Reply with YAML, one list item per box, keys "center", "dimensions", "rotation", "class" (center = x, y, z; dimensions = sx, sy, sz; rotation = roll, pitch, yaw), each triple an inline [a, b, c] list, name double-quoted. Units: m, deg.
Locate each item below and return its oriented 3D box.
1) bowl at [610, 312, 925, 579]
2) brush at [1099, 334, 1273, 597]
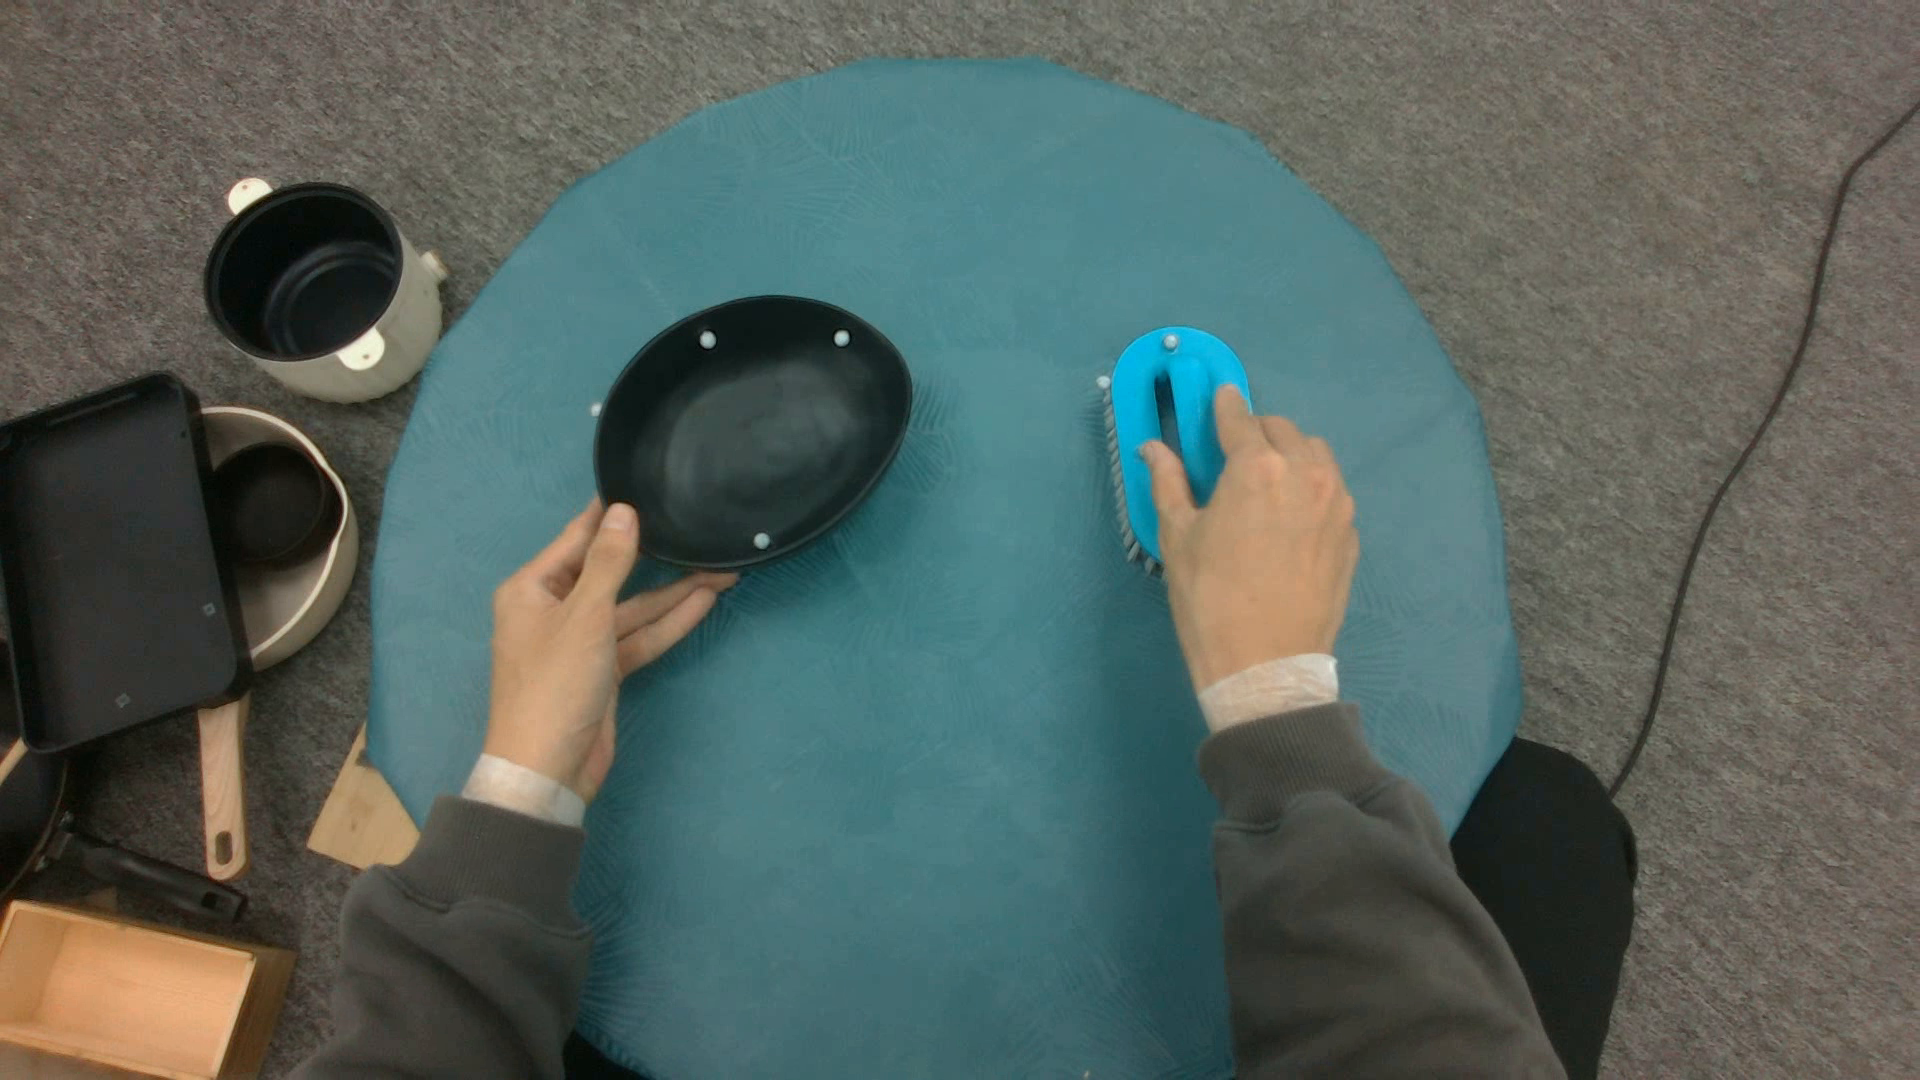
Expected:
- center: [-0.099, -0.046, 0.730]
  dimensions: [0.170, 0.066, 0.137]
  rotation: [-35, 76, -11]
  class: "bowl"
- center: [0.122, -0.045, 0.724]
  dimensions: [0.084, 0.063, 0.142]
  rotation: [-2, 73, -4]
  class: "brush"
